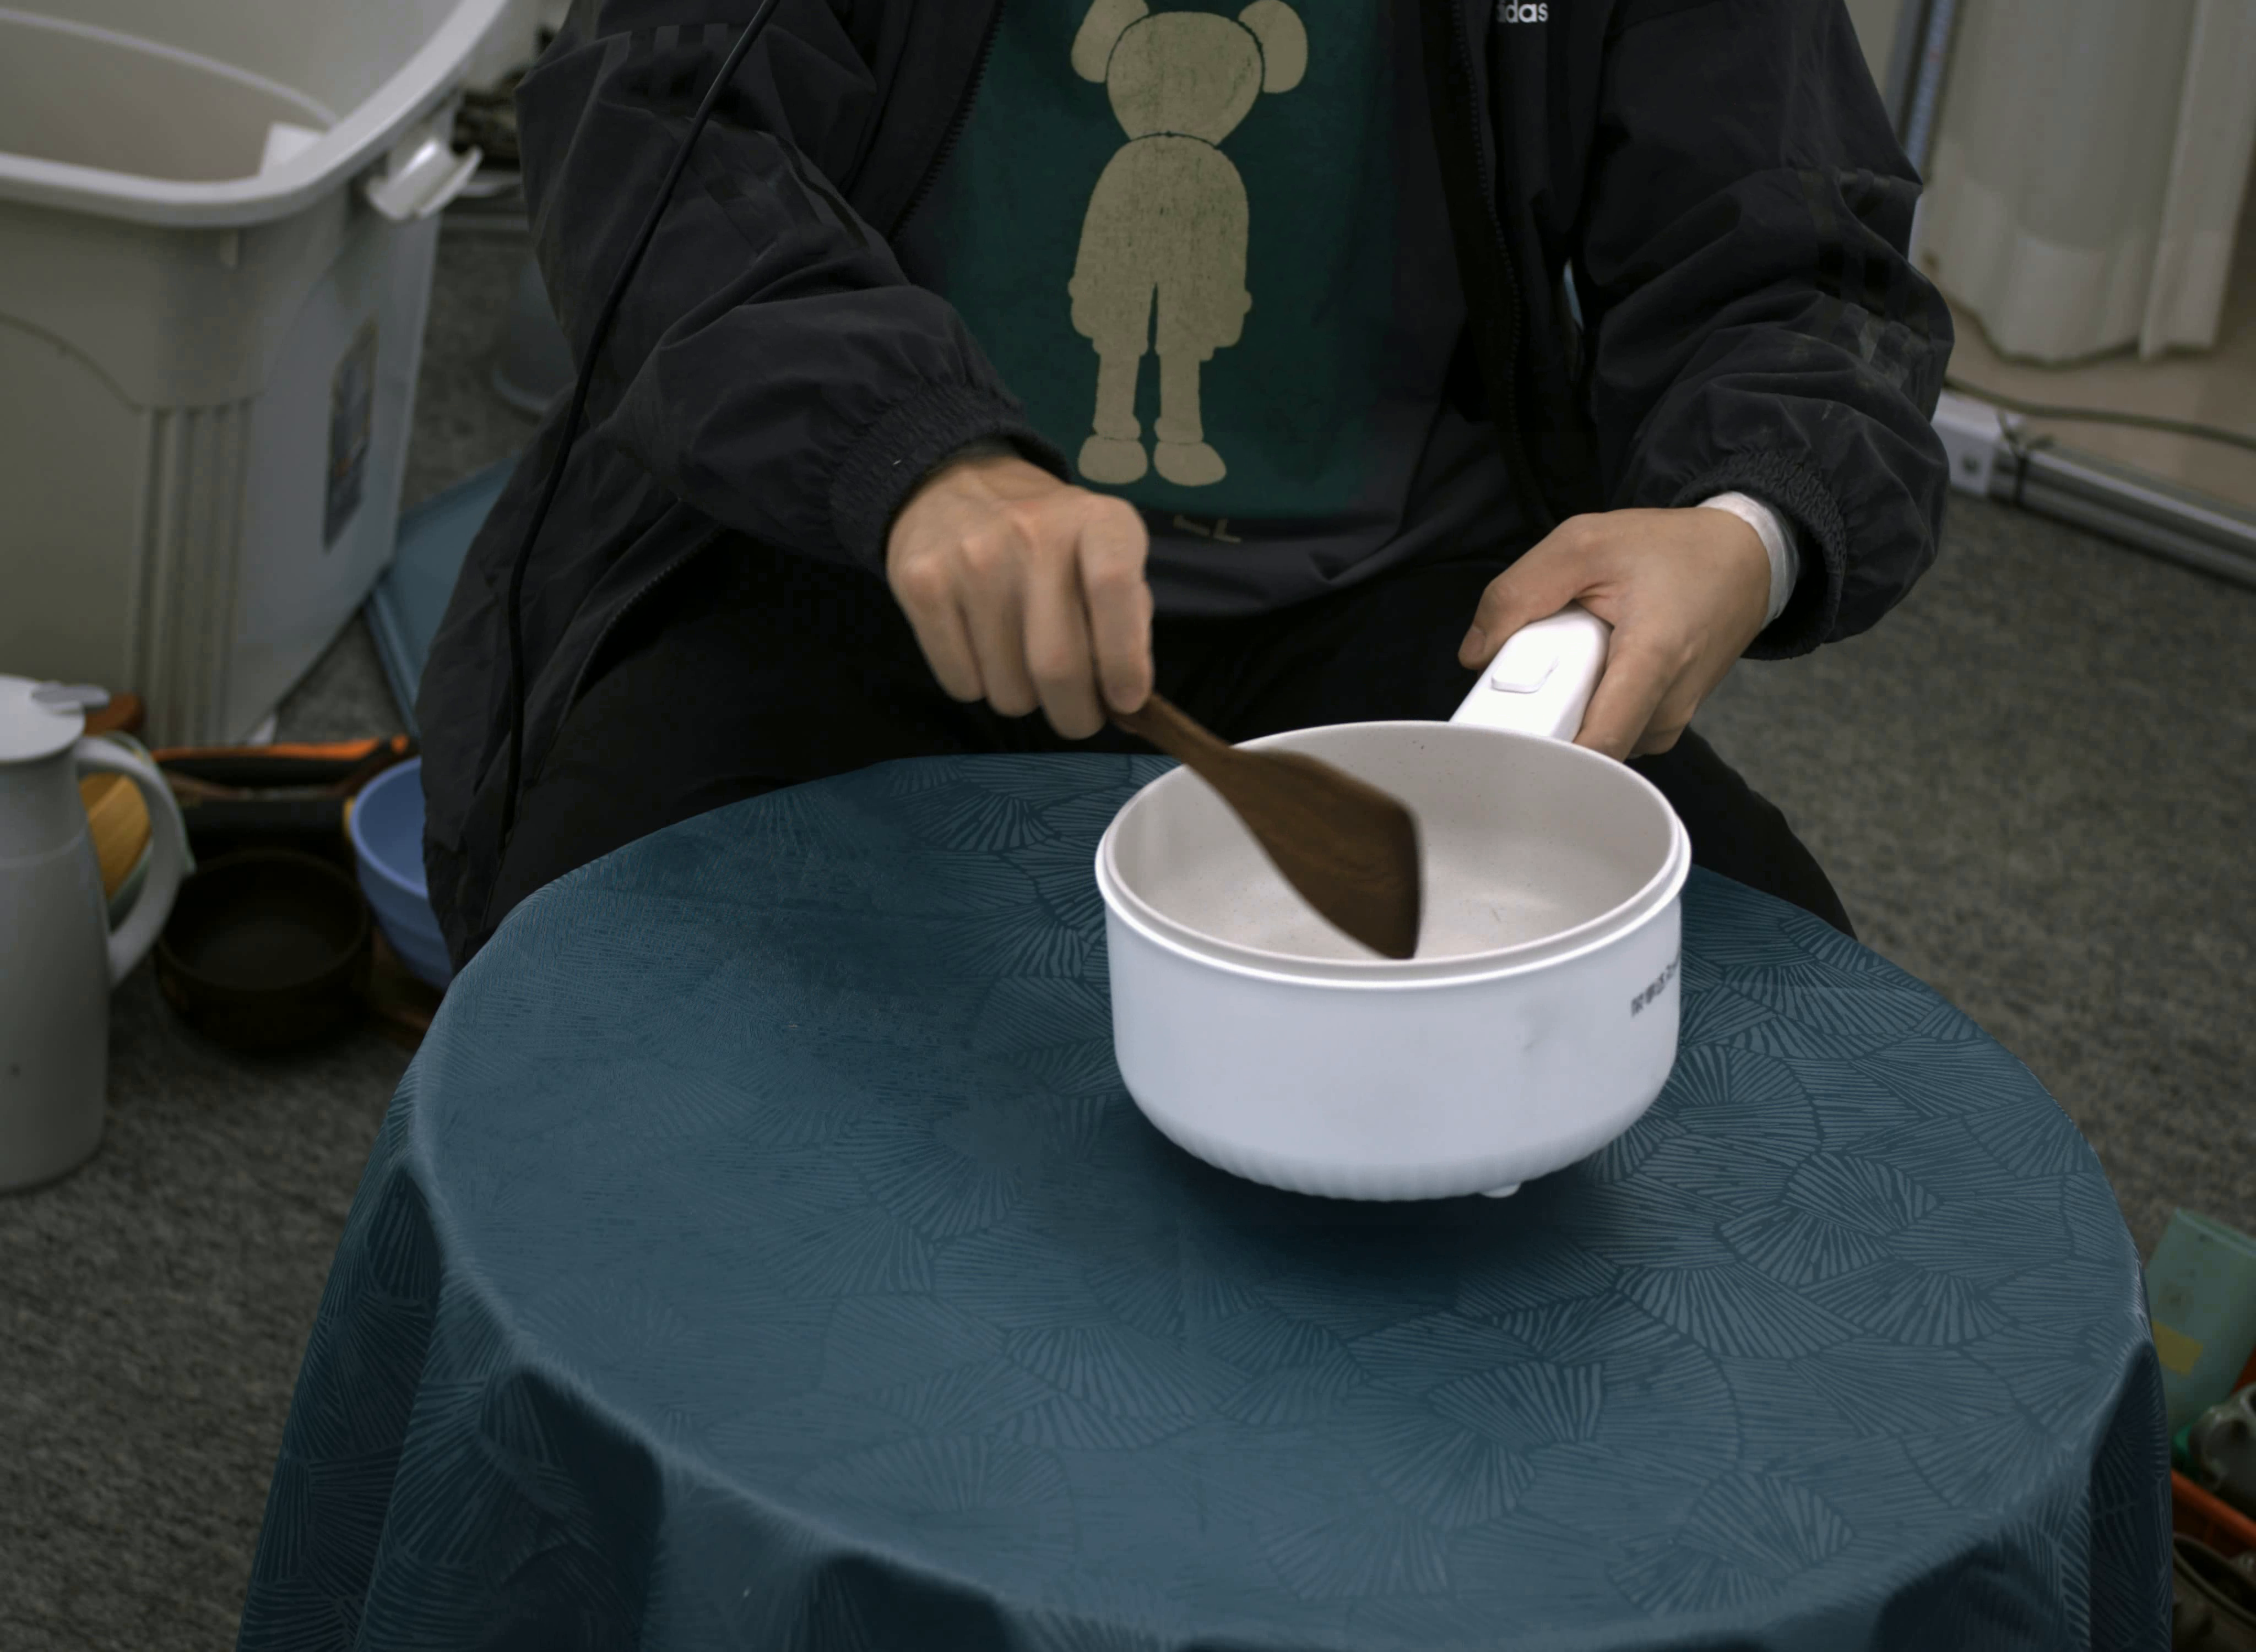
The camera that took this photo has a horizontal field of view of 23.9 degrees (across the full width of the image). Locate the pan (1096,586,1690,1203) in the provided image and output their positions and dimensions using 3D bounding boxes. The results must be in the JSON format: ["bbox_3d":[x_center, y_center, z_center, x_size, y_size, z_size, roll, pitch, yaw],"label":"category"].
[{"bbox_3d":[0.118,0.021,1.879,0.201,0.102,0.355,6,25,20],"label":"pan"}]

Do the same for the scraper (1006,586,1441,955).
[{"bbox_3d":[0.029,-0.027,1.816,0.011,0.075,0.213,-31,48,-30],"label":"scraper"}]
